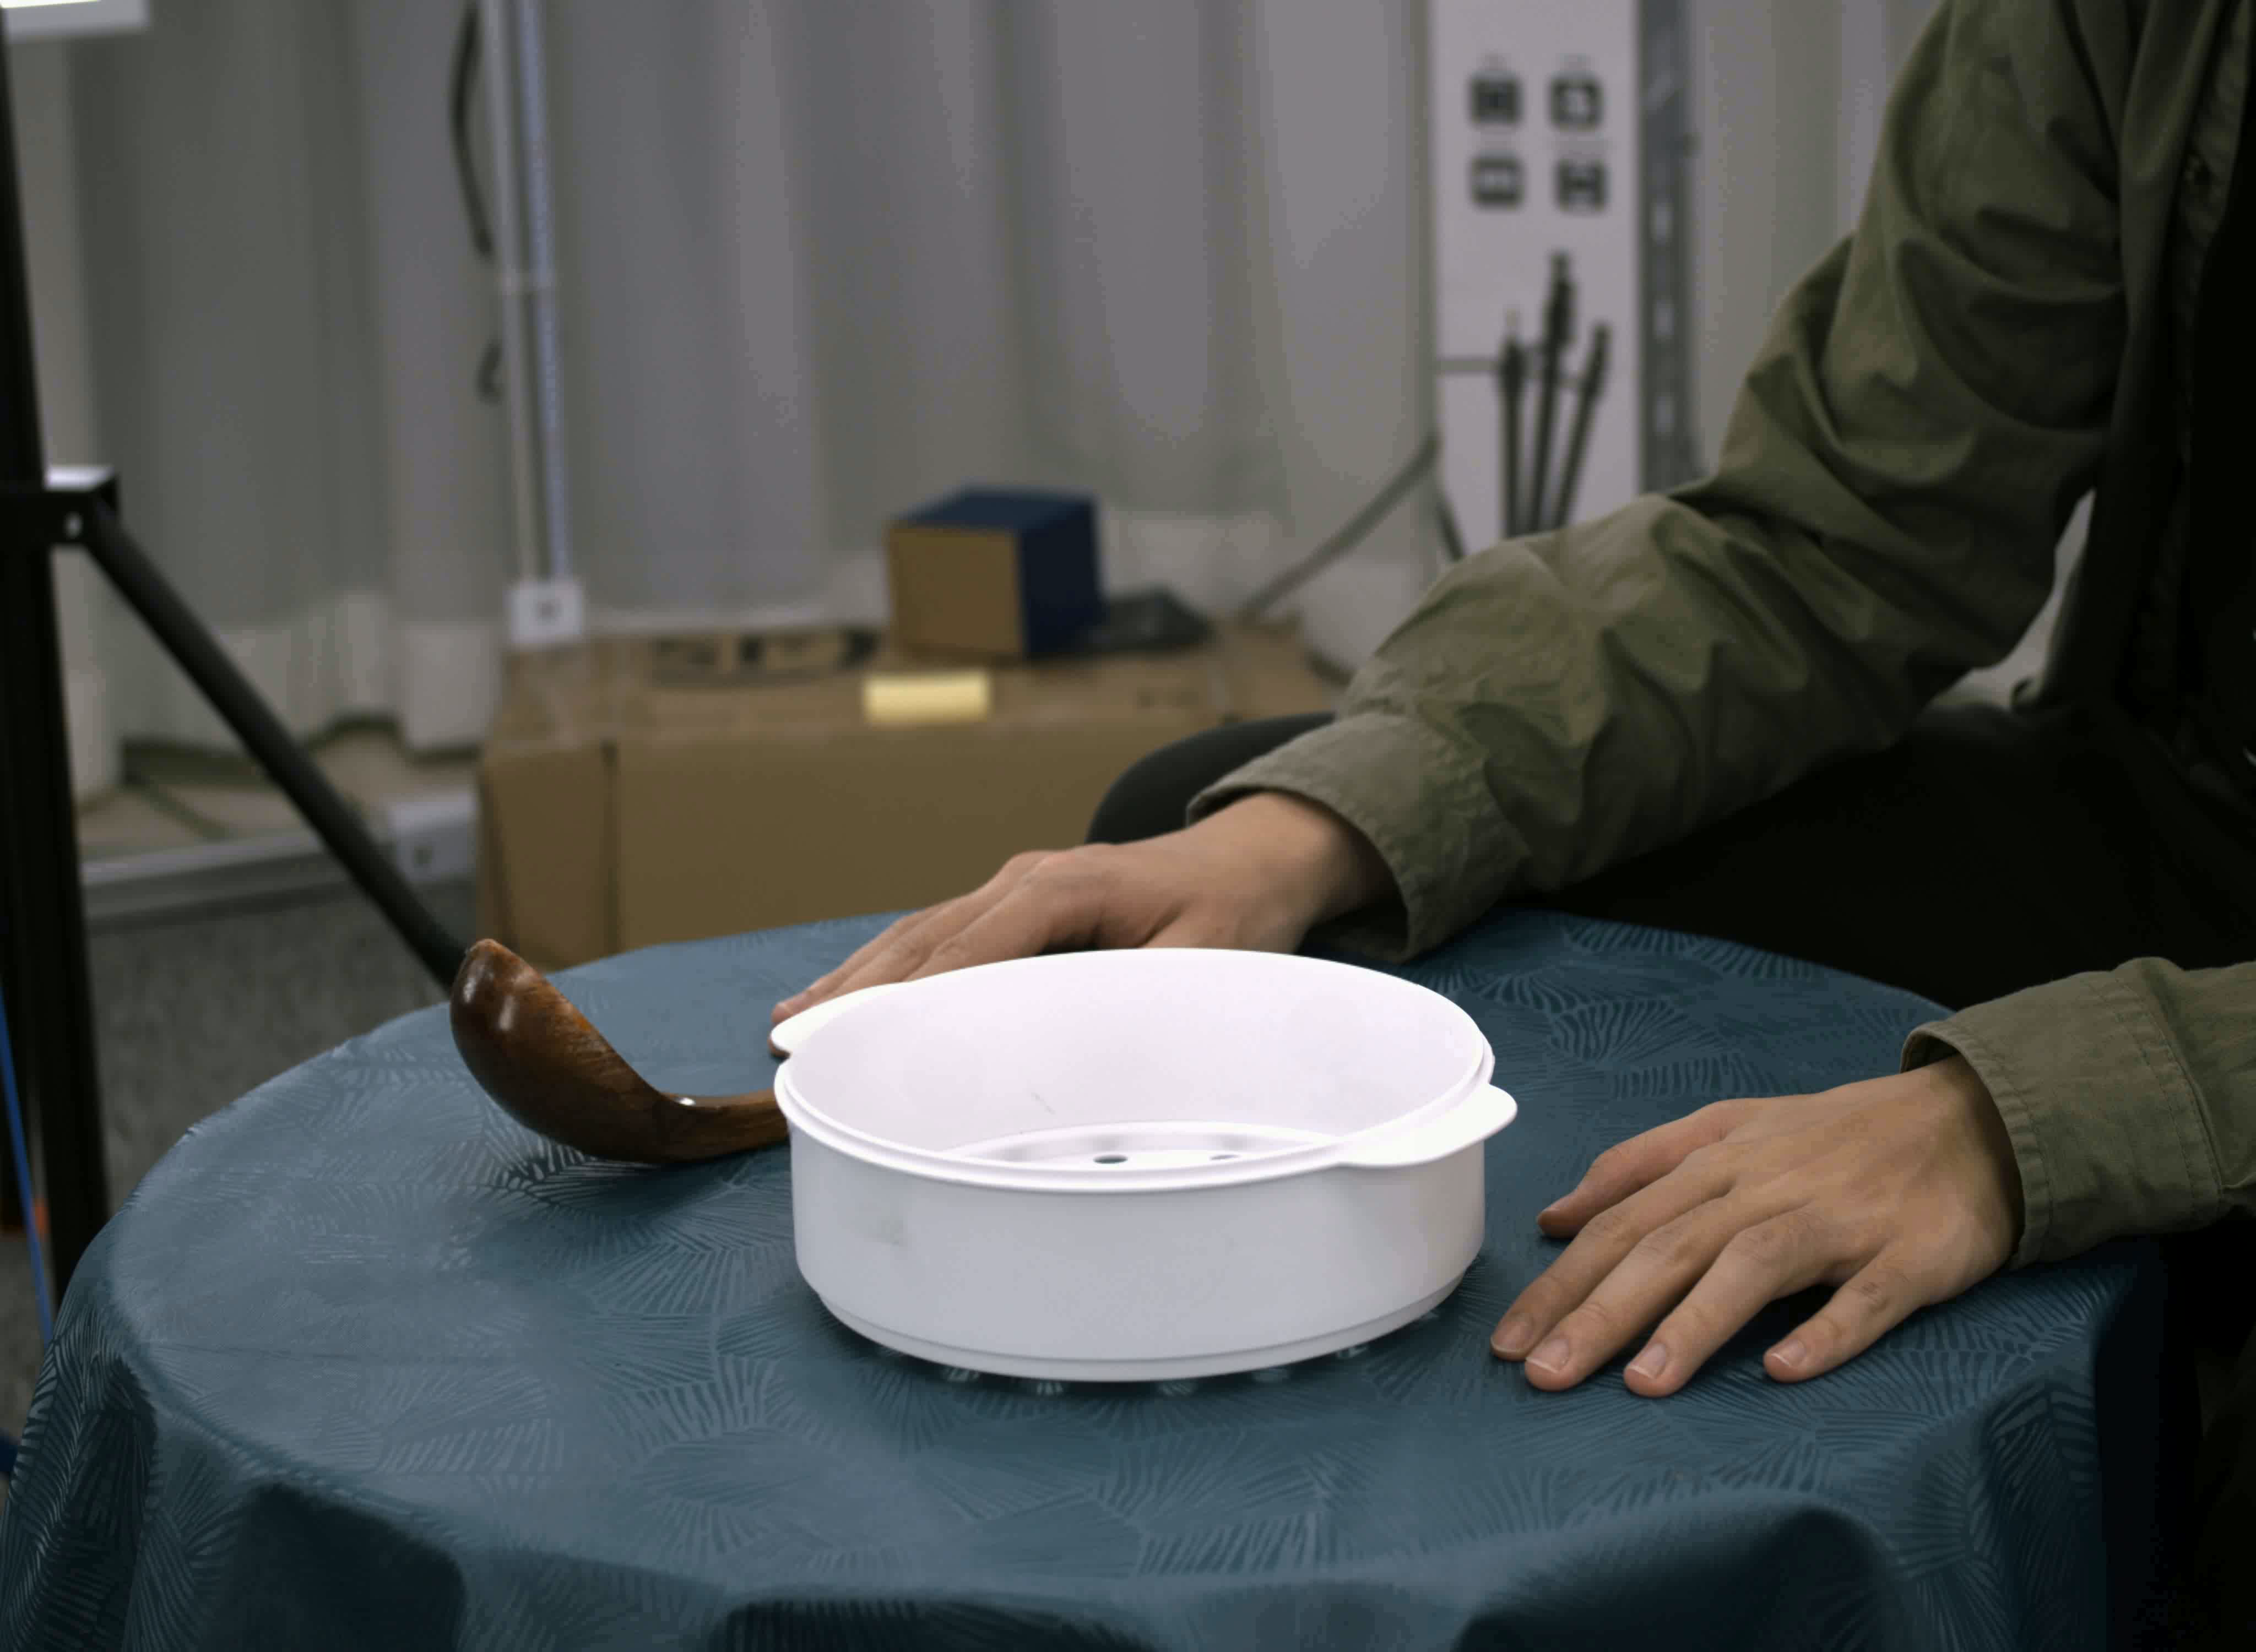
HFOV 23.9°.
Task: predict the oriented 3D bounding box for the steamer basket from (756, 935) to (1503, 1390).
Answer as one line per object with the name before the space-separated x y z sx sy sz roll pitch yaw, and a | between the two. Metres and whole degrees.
steamer basket | -0.002 0.094 1.491 0.235 0.069 0.198 12 22 36

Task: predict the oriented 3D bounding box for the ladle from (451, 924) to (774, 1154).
ladle | -0.074 0.051 1.636 0.269 0.077 0.083 -9 13 -22
